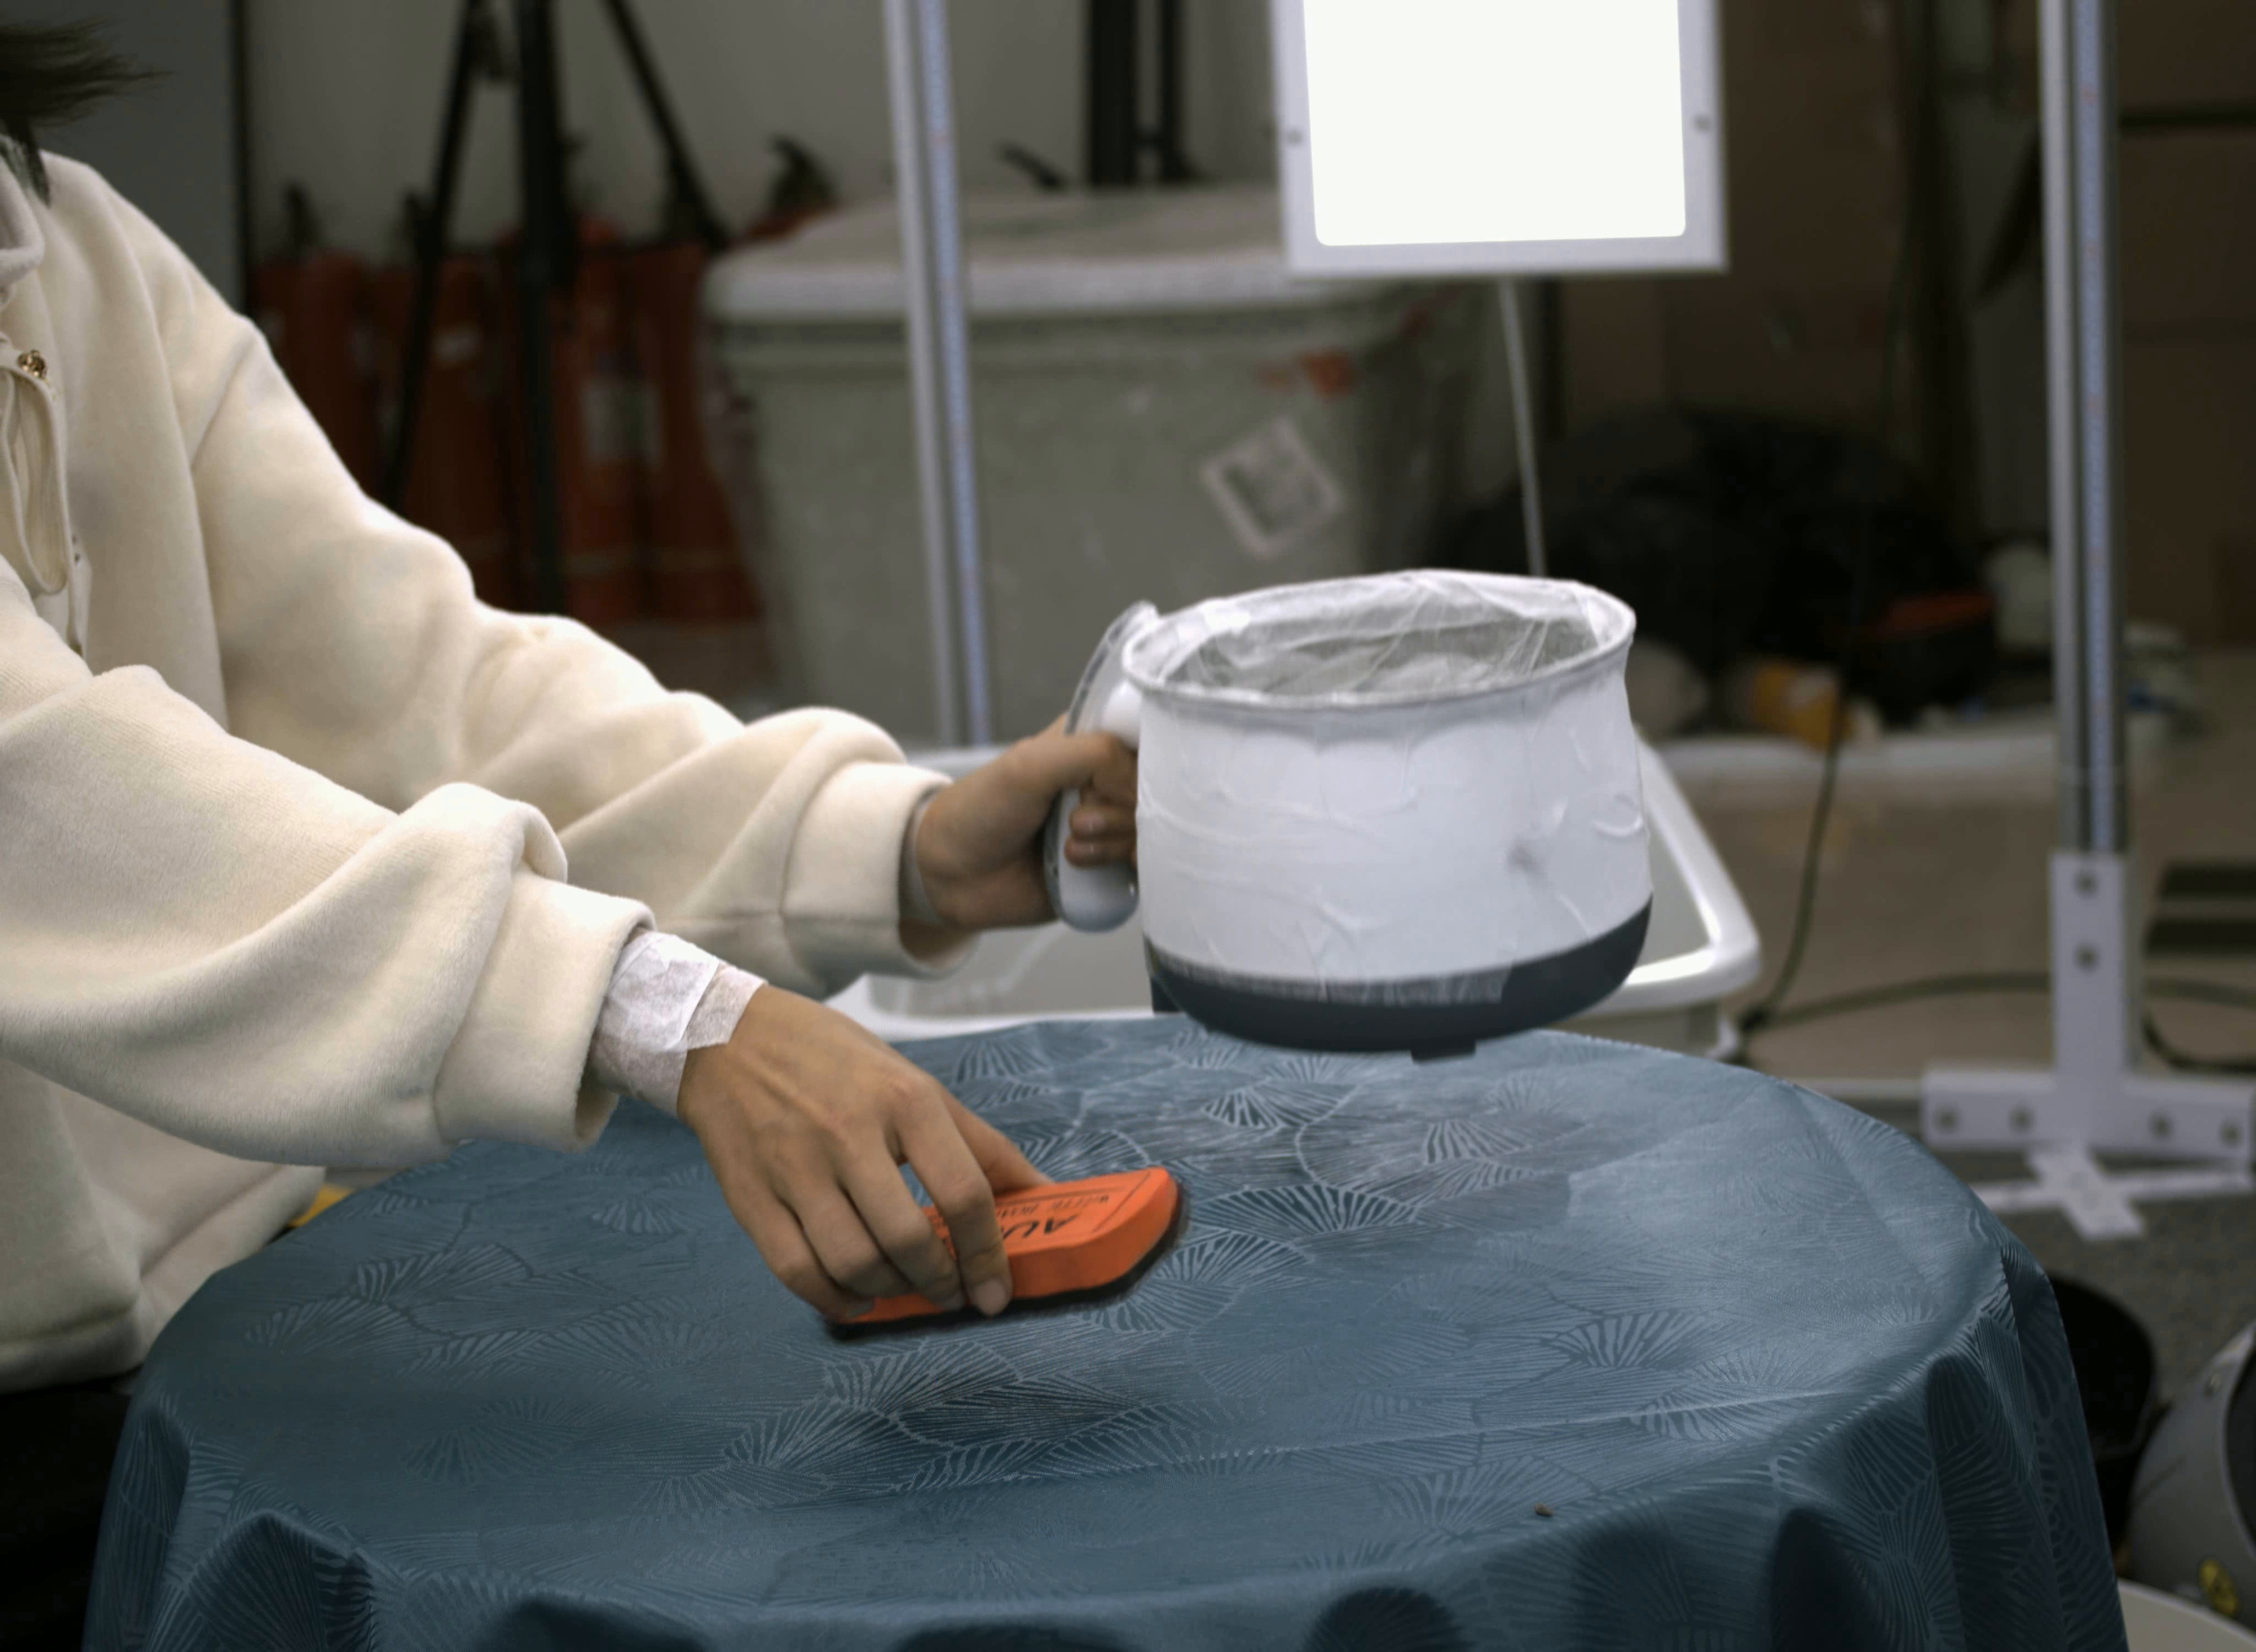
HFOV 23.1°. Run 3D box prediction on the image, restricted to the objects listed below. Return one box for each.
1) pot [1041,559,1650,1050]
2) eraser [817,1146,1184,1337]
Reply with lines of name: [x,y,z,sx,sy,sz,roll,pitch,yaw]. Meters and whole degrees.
pot: [0.067,-0.012,1.902,0.238,0.137,0.174,7,19,35]
eraser: [-0.039,0.128,1.695,0.110,0.023,0.058,-14,17,33]
